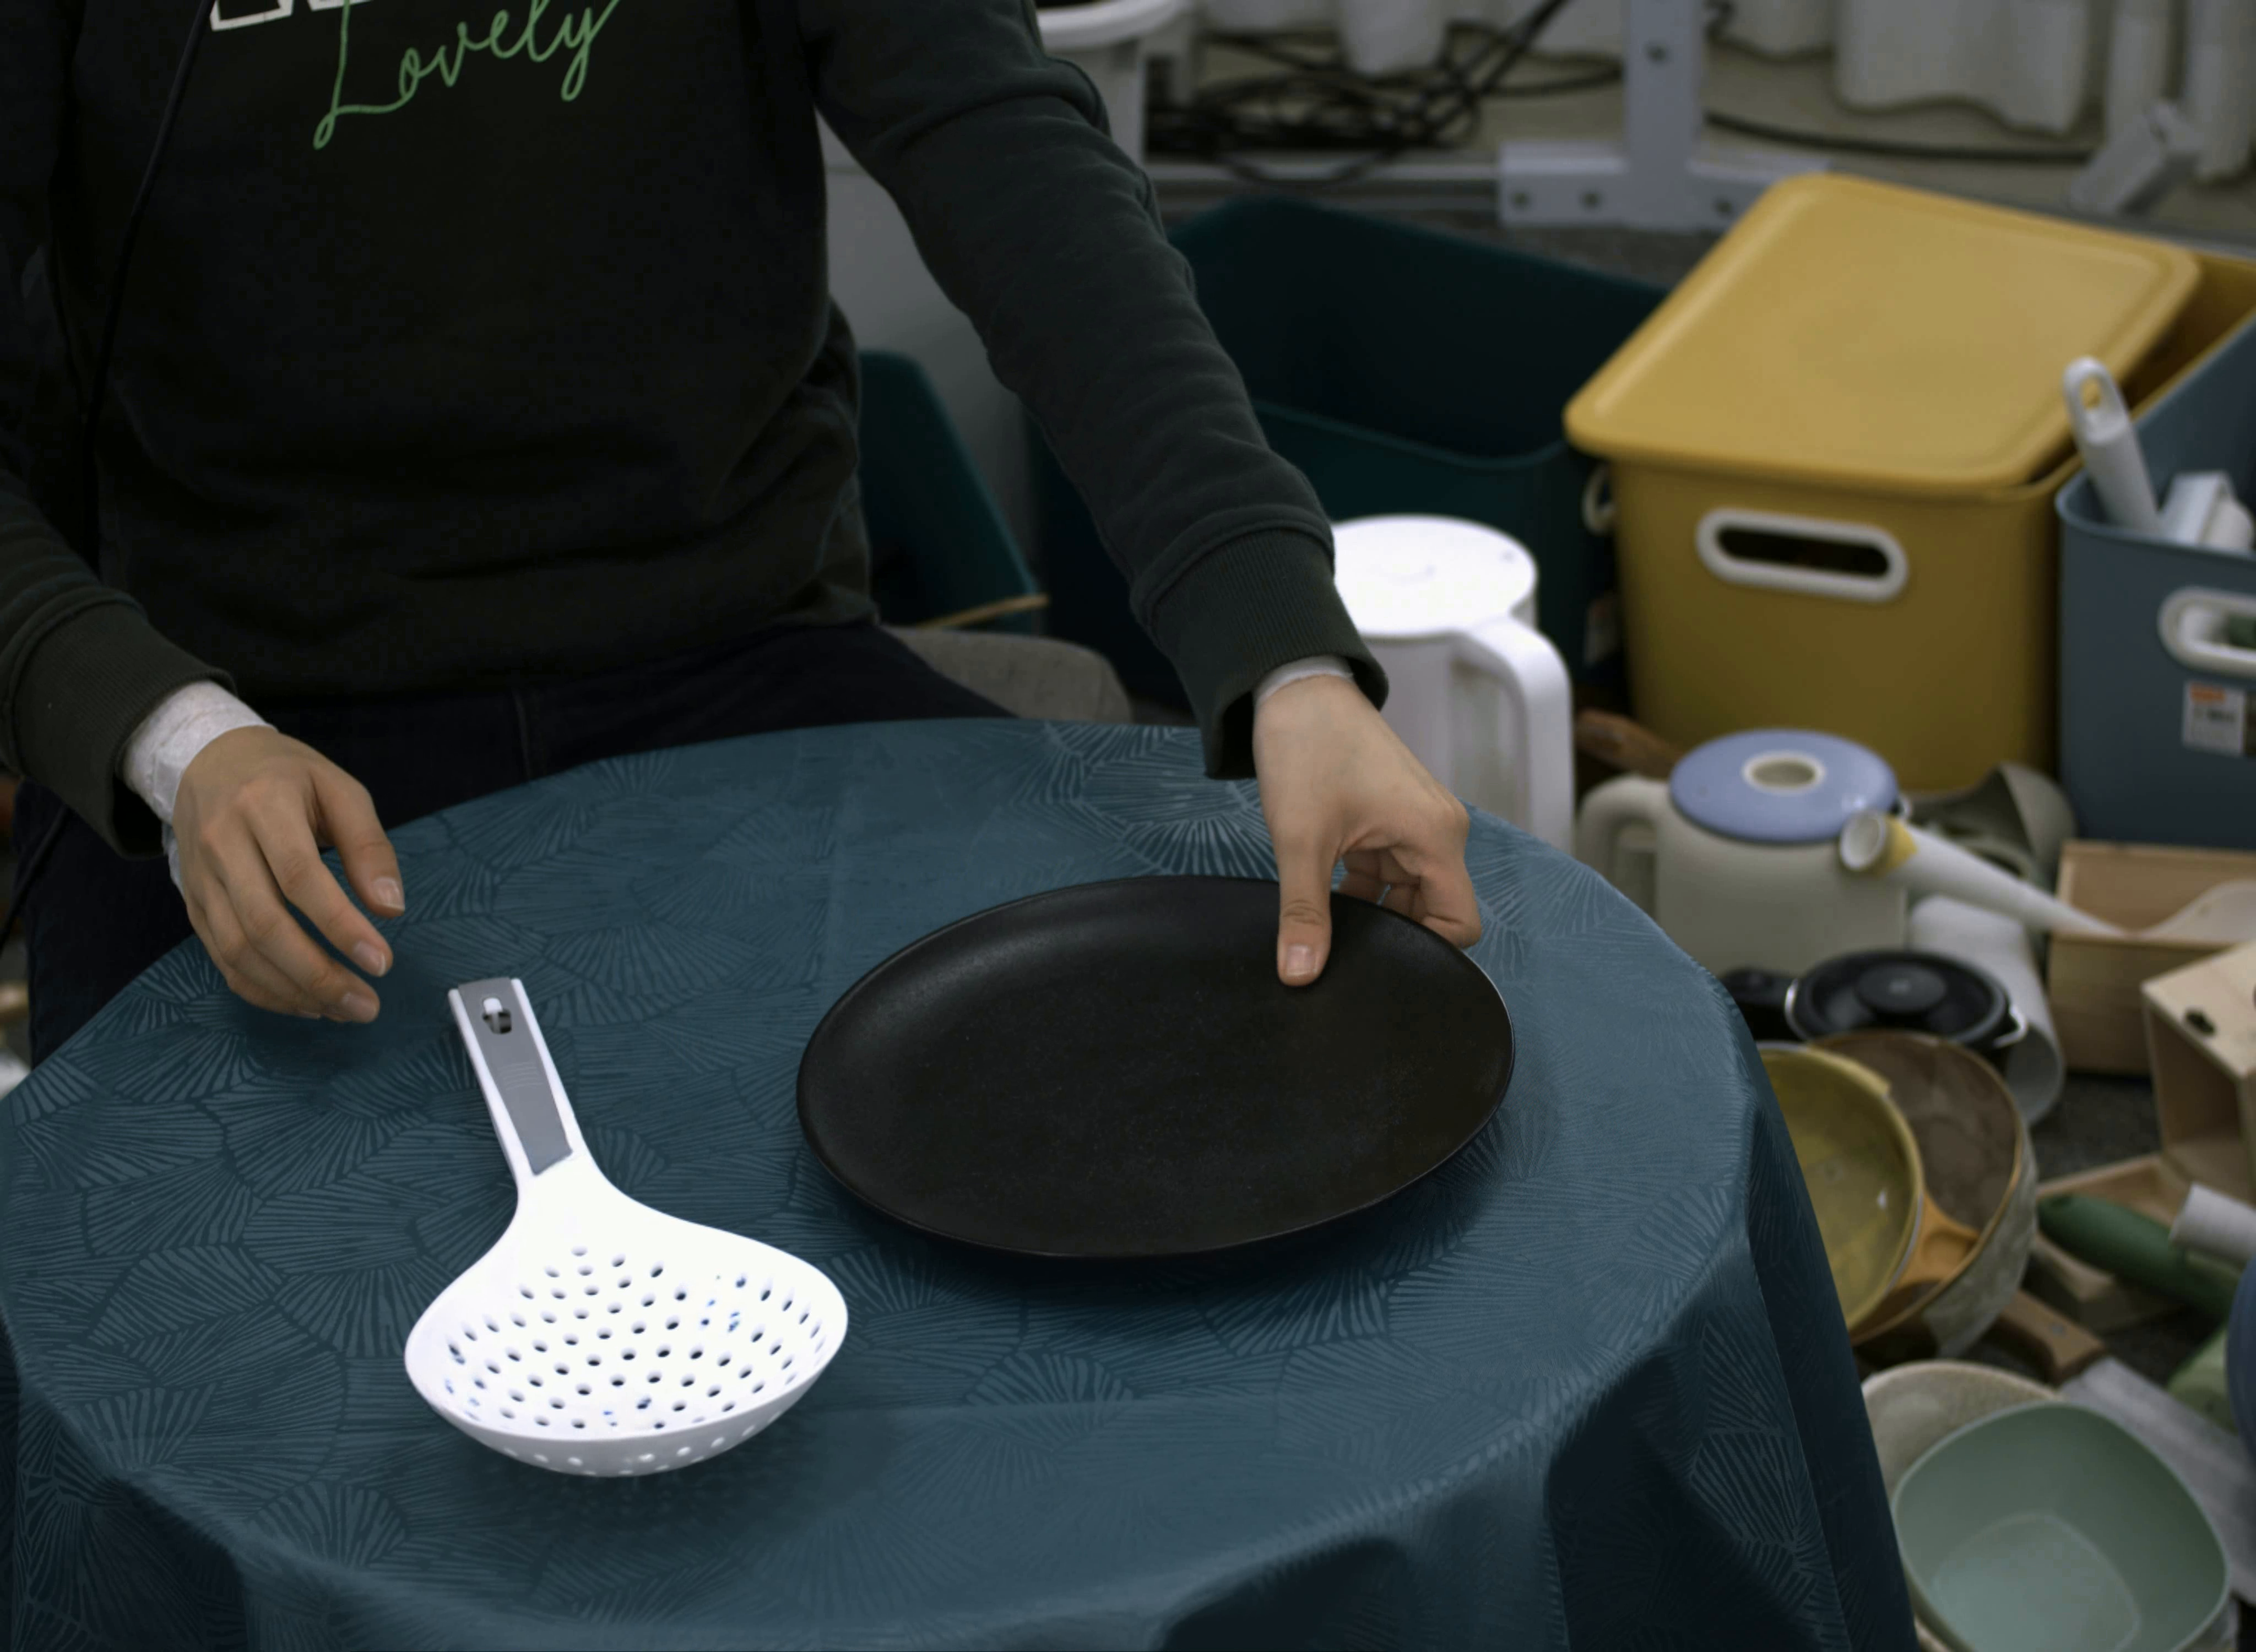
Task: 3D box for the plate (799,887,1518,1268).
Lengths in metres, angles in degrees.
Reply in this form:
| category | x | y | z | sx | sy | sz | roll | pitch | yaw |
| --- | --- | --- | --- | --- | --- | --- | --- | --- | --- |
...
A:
| category | x | y | z | sx | sy | sz | roll | pitch | yaw |
| --- | --- | --- | --- | --- | --- | --- | --- | --- | --- |
| plate | 0.010 | 0.088 | 1.895 | 0.243 | 0.023 | 0.248 | -3 | 28 | 2 |

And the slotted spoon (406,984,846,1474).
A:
| category | x | y | z | sx | sy | sz | roll | pitch | yaw |
| --- | --- | --- | --- | --- | --- | --- | --- | --- | --- |
| slotted spoon | -0.182 | 0.124 | 1.825 | 0.136 | 0.045 | 0.353 | -7 | 27 | -13 |
